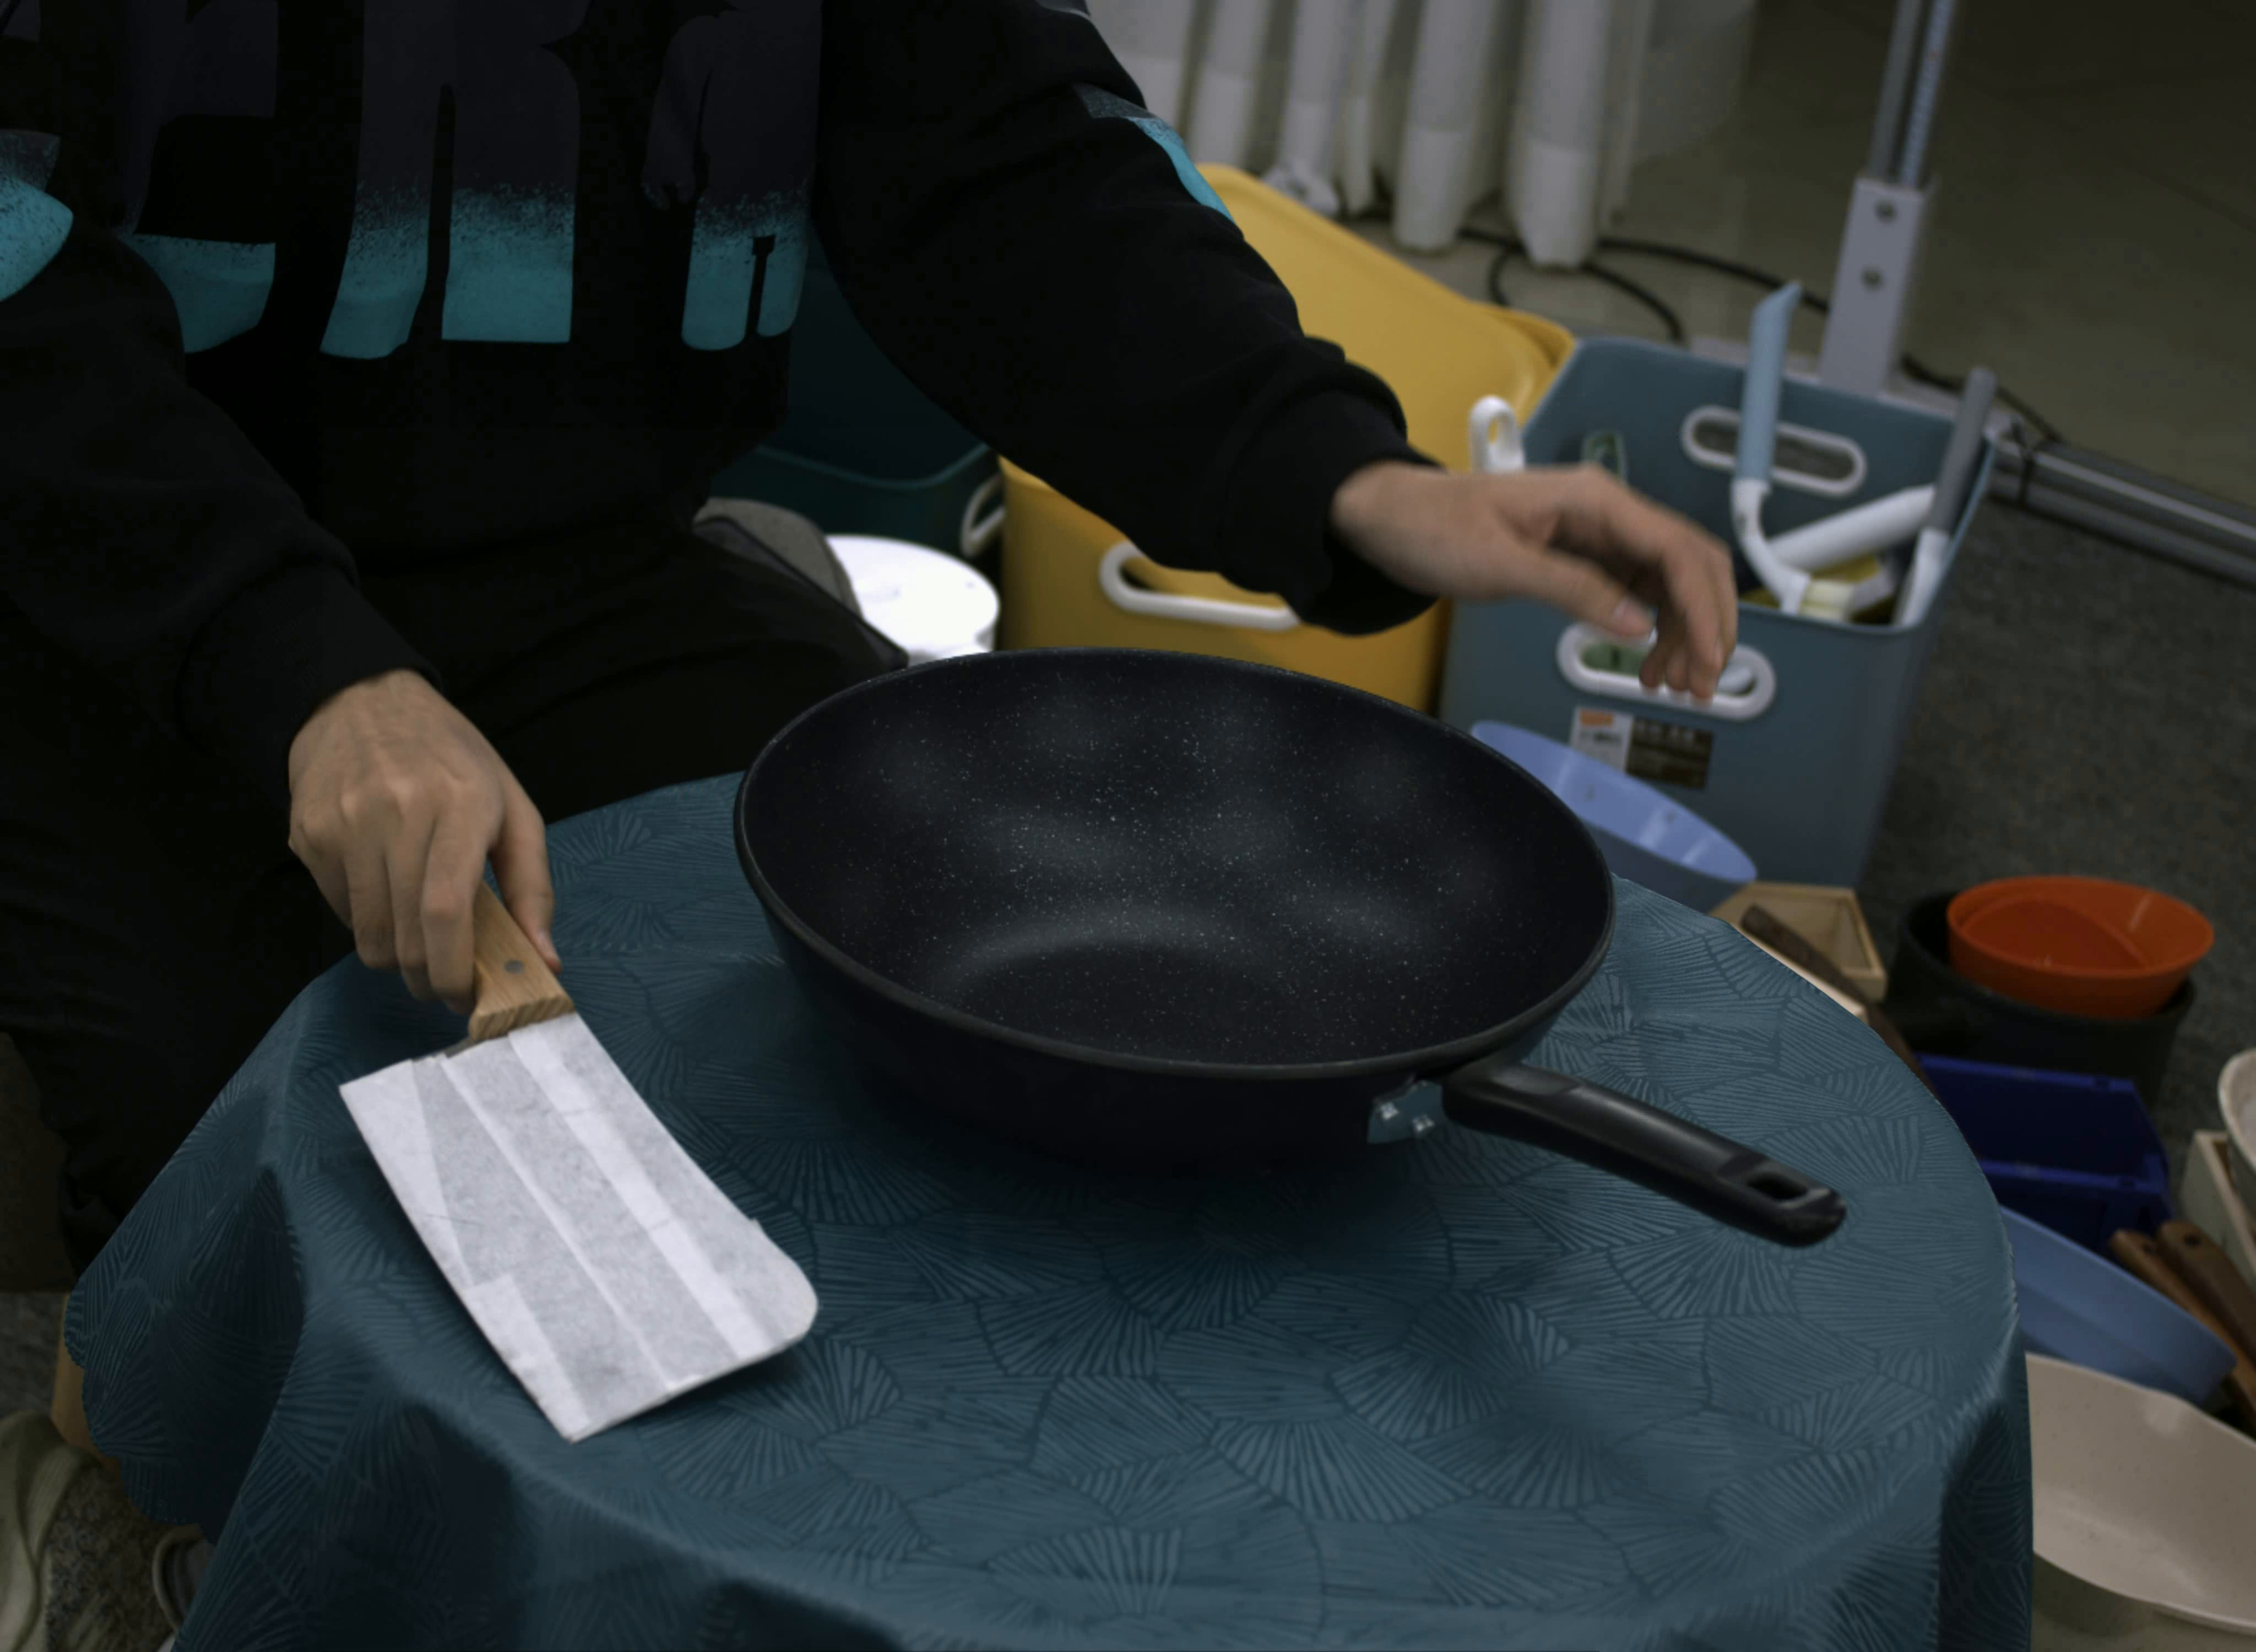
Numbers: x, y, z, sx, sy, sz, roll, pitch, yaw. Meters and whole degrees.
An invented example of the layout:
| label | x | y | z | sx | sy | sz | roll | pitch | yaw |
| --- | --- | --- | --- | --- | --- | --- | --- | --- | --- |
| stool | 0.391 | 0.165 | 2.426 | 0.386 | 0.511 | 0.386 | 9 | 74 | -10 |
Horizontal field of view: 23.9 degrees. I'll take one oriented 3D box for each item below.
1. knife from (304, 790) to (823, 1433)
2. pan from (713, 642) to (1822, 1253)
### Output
| label | x | y | z | sx | sy | sz | roll | pitch | yaw |
| --- | --- | --- | --- | --- | --- | --- | --- | --- | --- |
| knife | -0.202 | 0.087 | 1.759 | 0.113 | 0.021 | 0.318 | -17 | 42 | -19 |
| pan | 0.058 | 0.067 | 1.810 | 0.308 | 0.111 | 0.481 | -16 | 34 | -34 |
